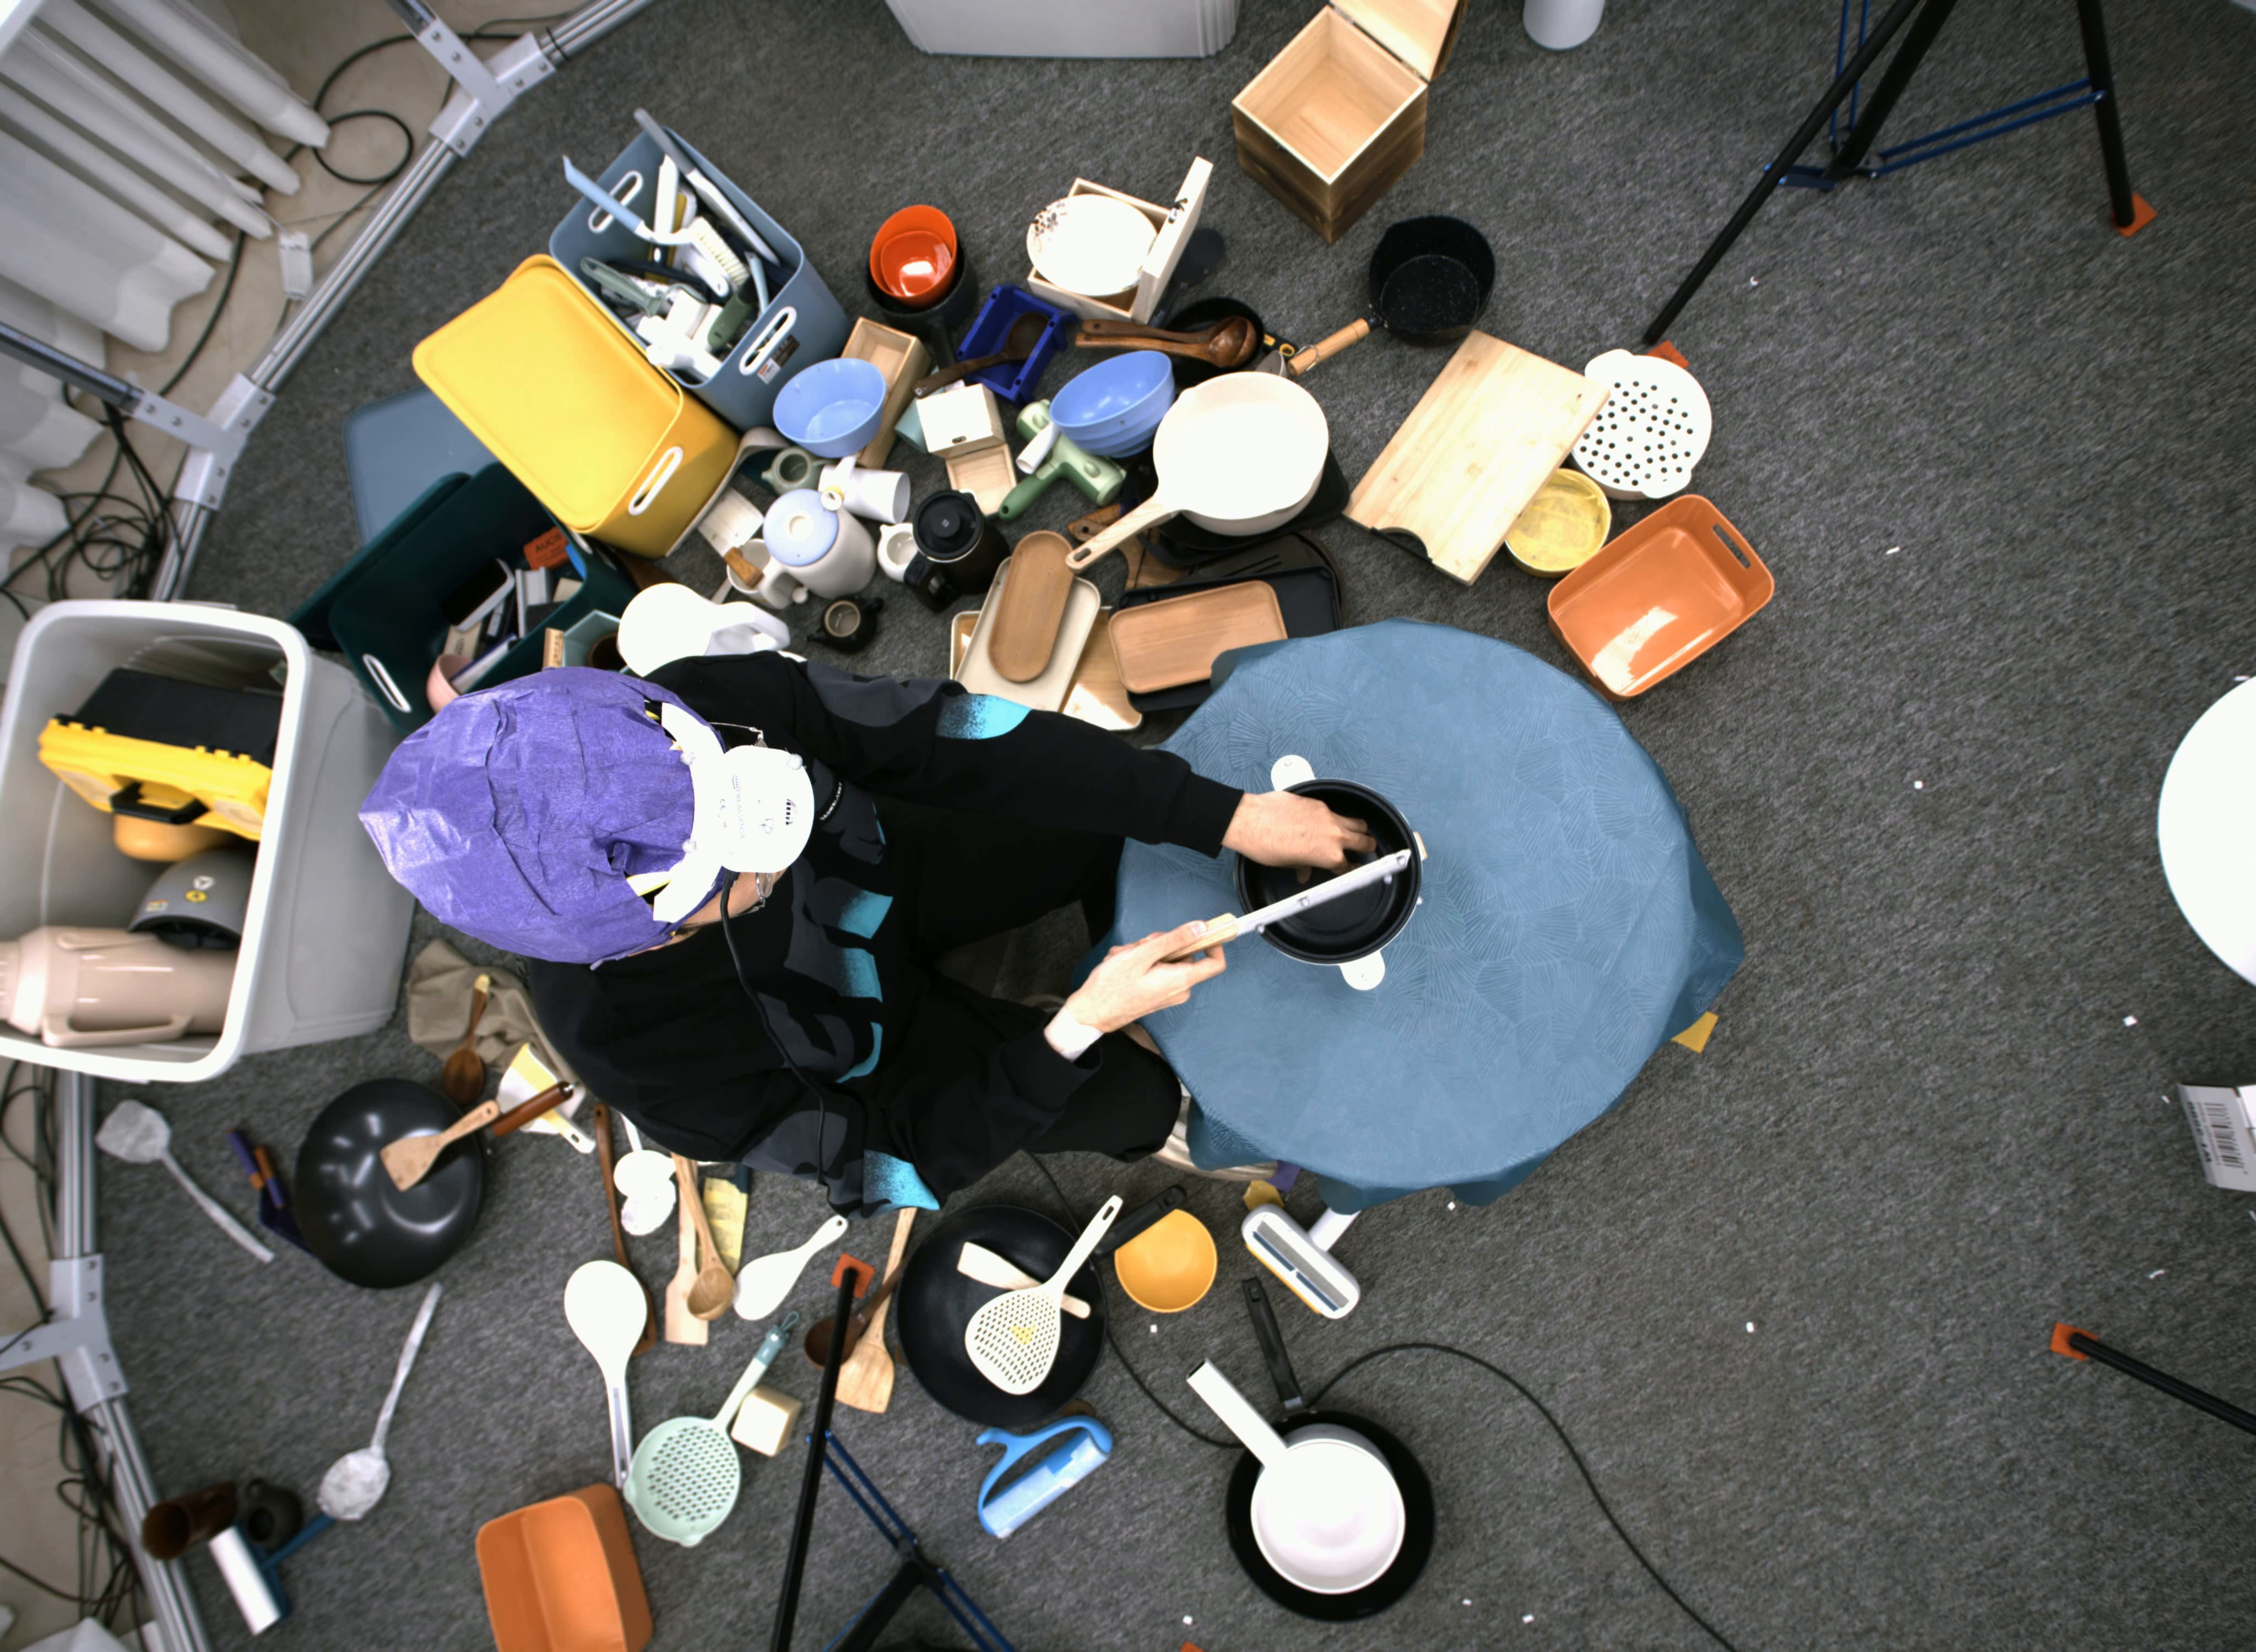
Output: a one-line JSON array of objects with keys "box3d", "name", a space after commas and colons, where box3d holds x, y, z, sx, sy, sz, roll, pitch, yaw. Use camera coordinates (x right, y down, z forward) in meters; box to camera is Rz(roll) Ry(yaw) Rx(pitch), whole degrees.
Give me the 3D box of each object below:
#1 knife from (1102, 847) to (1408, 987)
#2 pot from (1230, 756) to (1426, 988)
[{"box3d": [0.124, 0.082, 1.294, 0.315, 0.115, 0.021, -22, 77, -3], "name": "knife"}, {"box3d": [0.207, 0.046, 1.402, 0.192, 0.142, 0.239, -21, 84, 11], "name": "pot"}]
